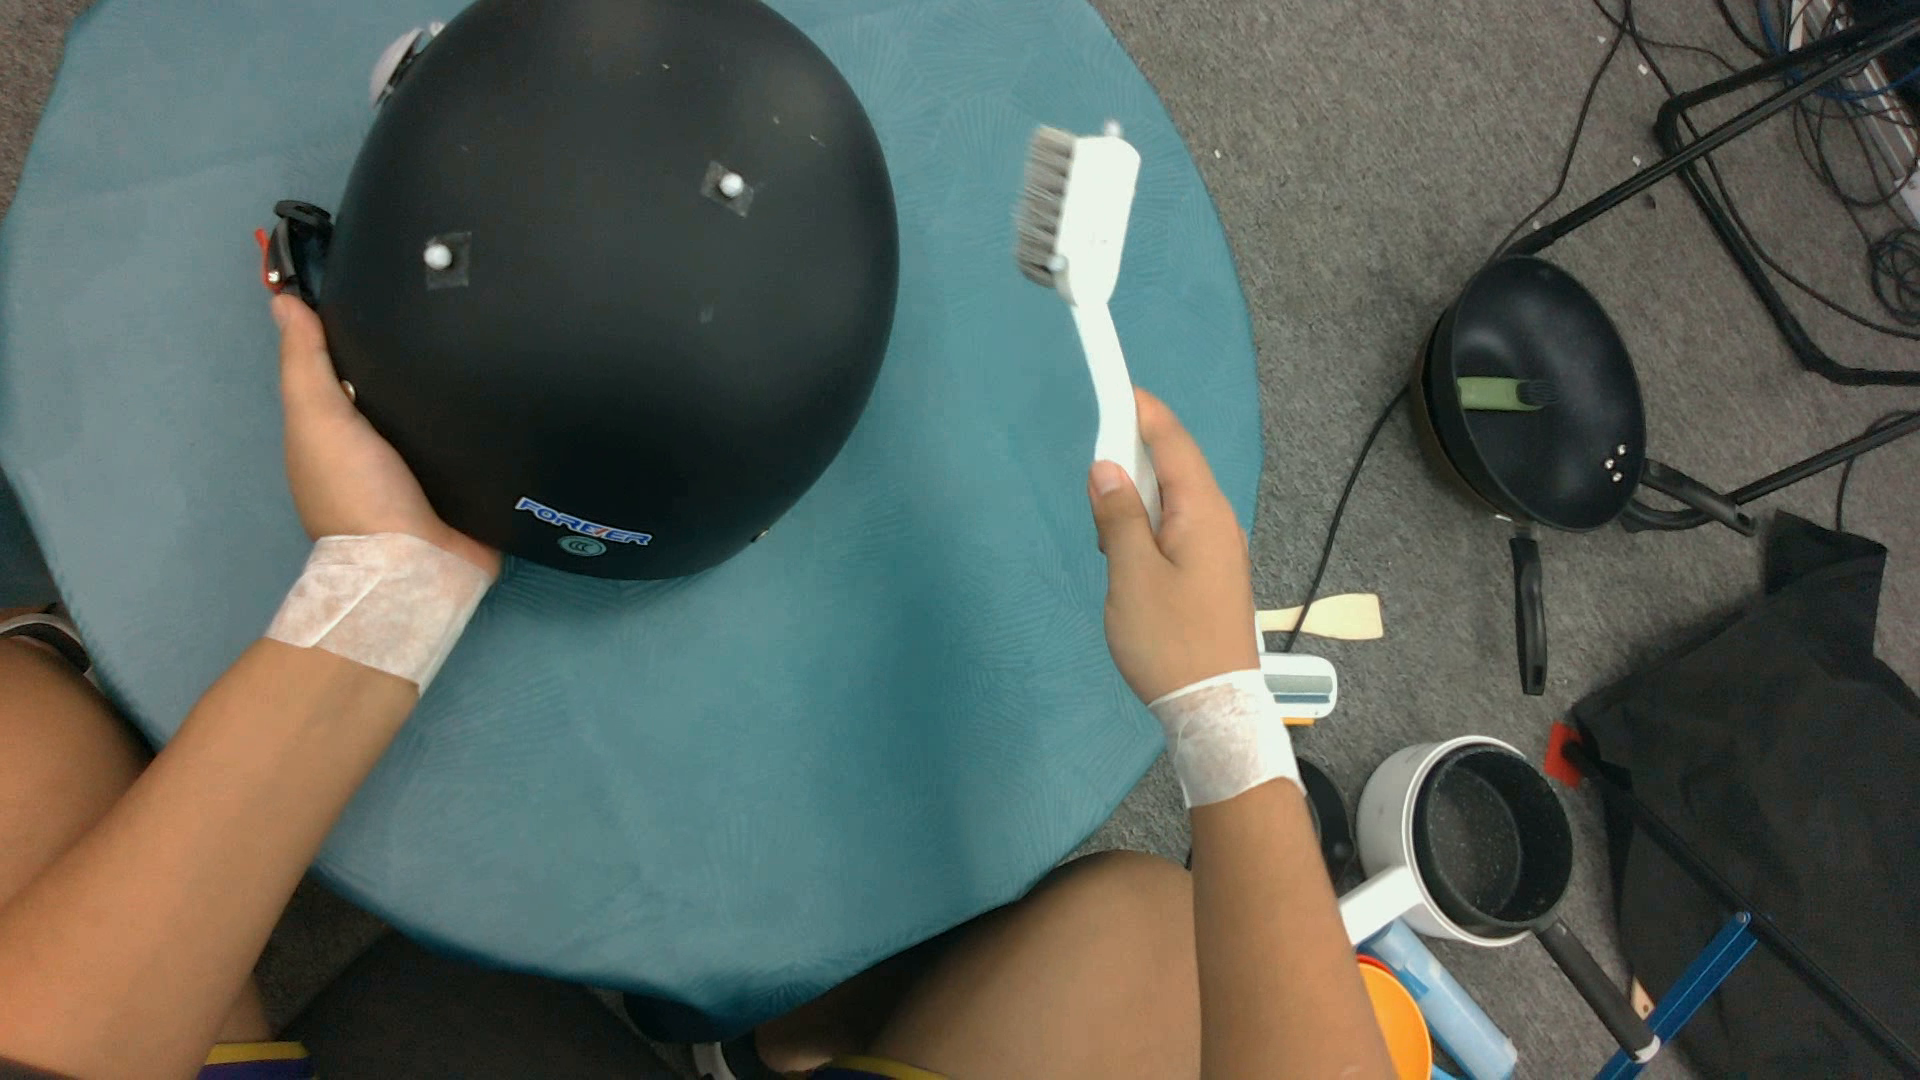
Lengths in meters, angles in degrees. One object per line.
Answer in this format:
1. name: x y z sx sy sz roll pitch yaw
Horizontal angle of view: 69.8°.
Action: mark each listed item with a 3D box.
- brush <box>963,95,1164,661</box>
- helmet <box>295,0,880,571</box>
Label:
1. brush: 0.041 -0.068 0.579 0.034 0.050 0.243 -14 94 -52
2. helmet: -0.132 -0.129 0.561 0.230 0.166 0.274 23 65 -29
